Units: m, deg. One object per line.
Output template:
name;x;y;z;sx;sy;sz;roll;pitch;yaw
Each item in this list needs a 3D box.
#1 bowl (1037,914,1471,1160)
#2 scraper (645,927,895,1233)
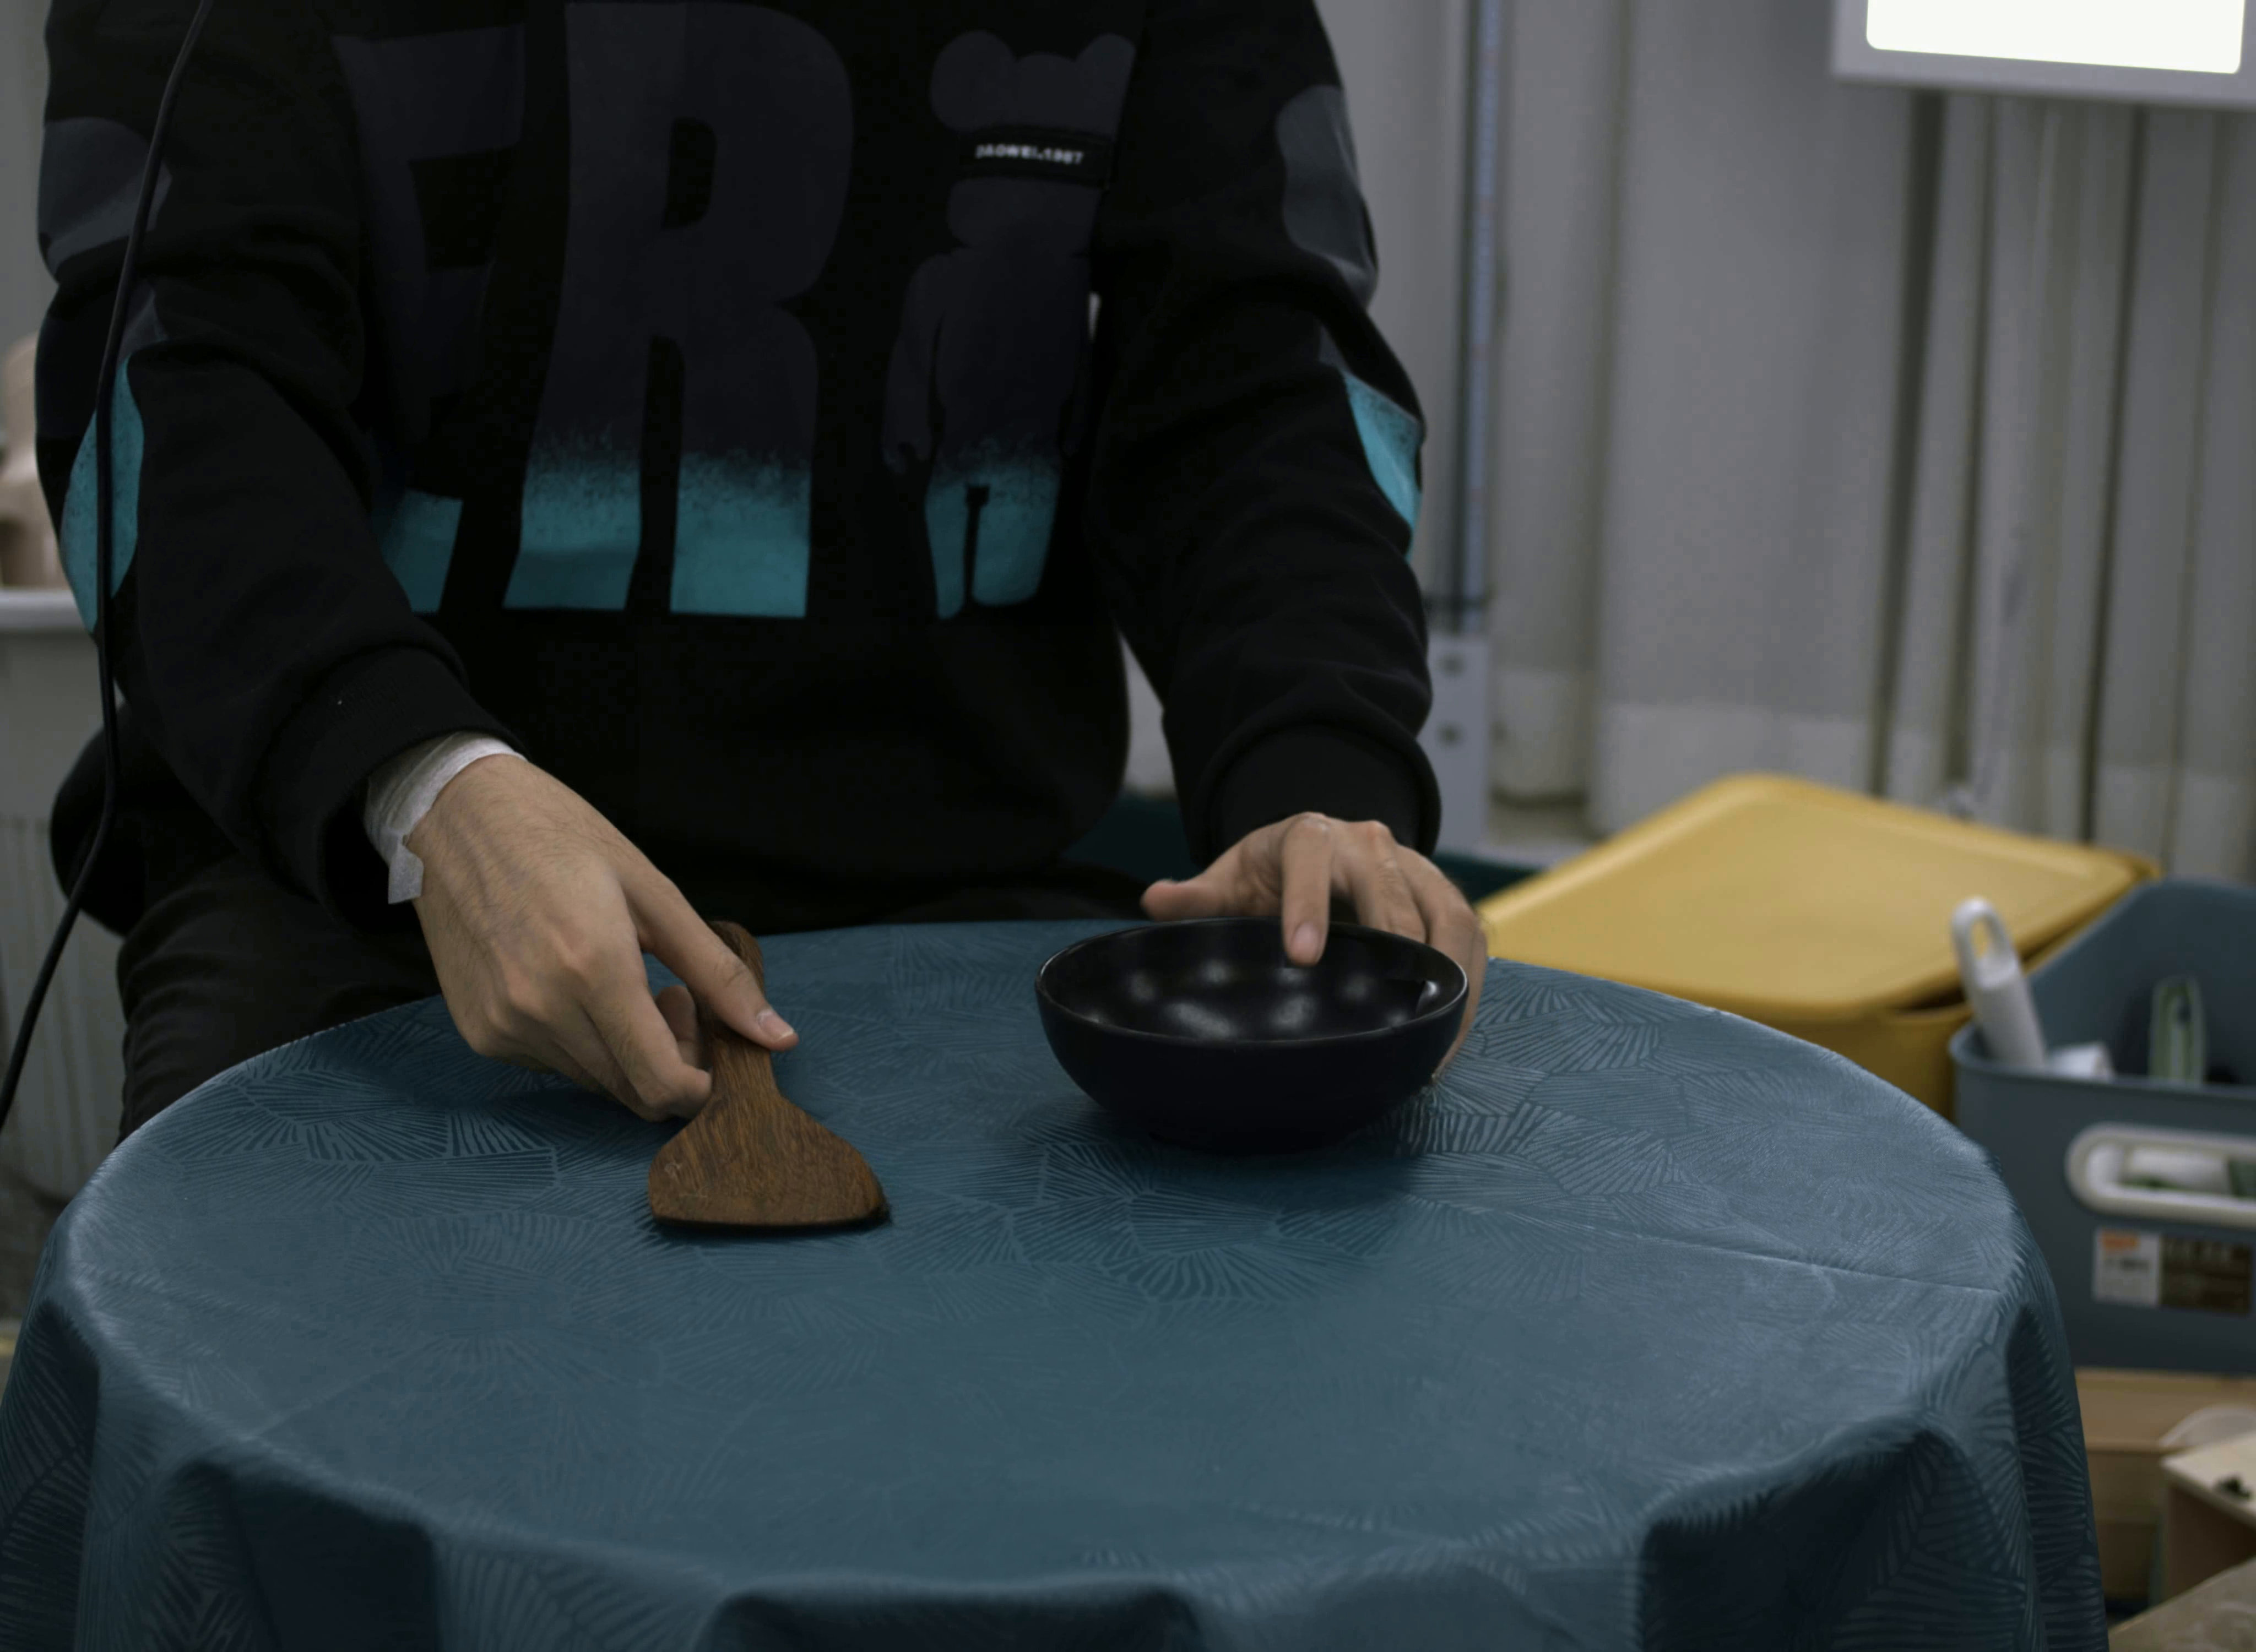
bowl;0.041;0.072;1.684;0.139;0.050;0.139;-2;16;1
scraper;-0.121;0.080;1.674;0.076;0.011;0.209;1;25;-10
